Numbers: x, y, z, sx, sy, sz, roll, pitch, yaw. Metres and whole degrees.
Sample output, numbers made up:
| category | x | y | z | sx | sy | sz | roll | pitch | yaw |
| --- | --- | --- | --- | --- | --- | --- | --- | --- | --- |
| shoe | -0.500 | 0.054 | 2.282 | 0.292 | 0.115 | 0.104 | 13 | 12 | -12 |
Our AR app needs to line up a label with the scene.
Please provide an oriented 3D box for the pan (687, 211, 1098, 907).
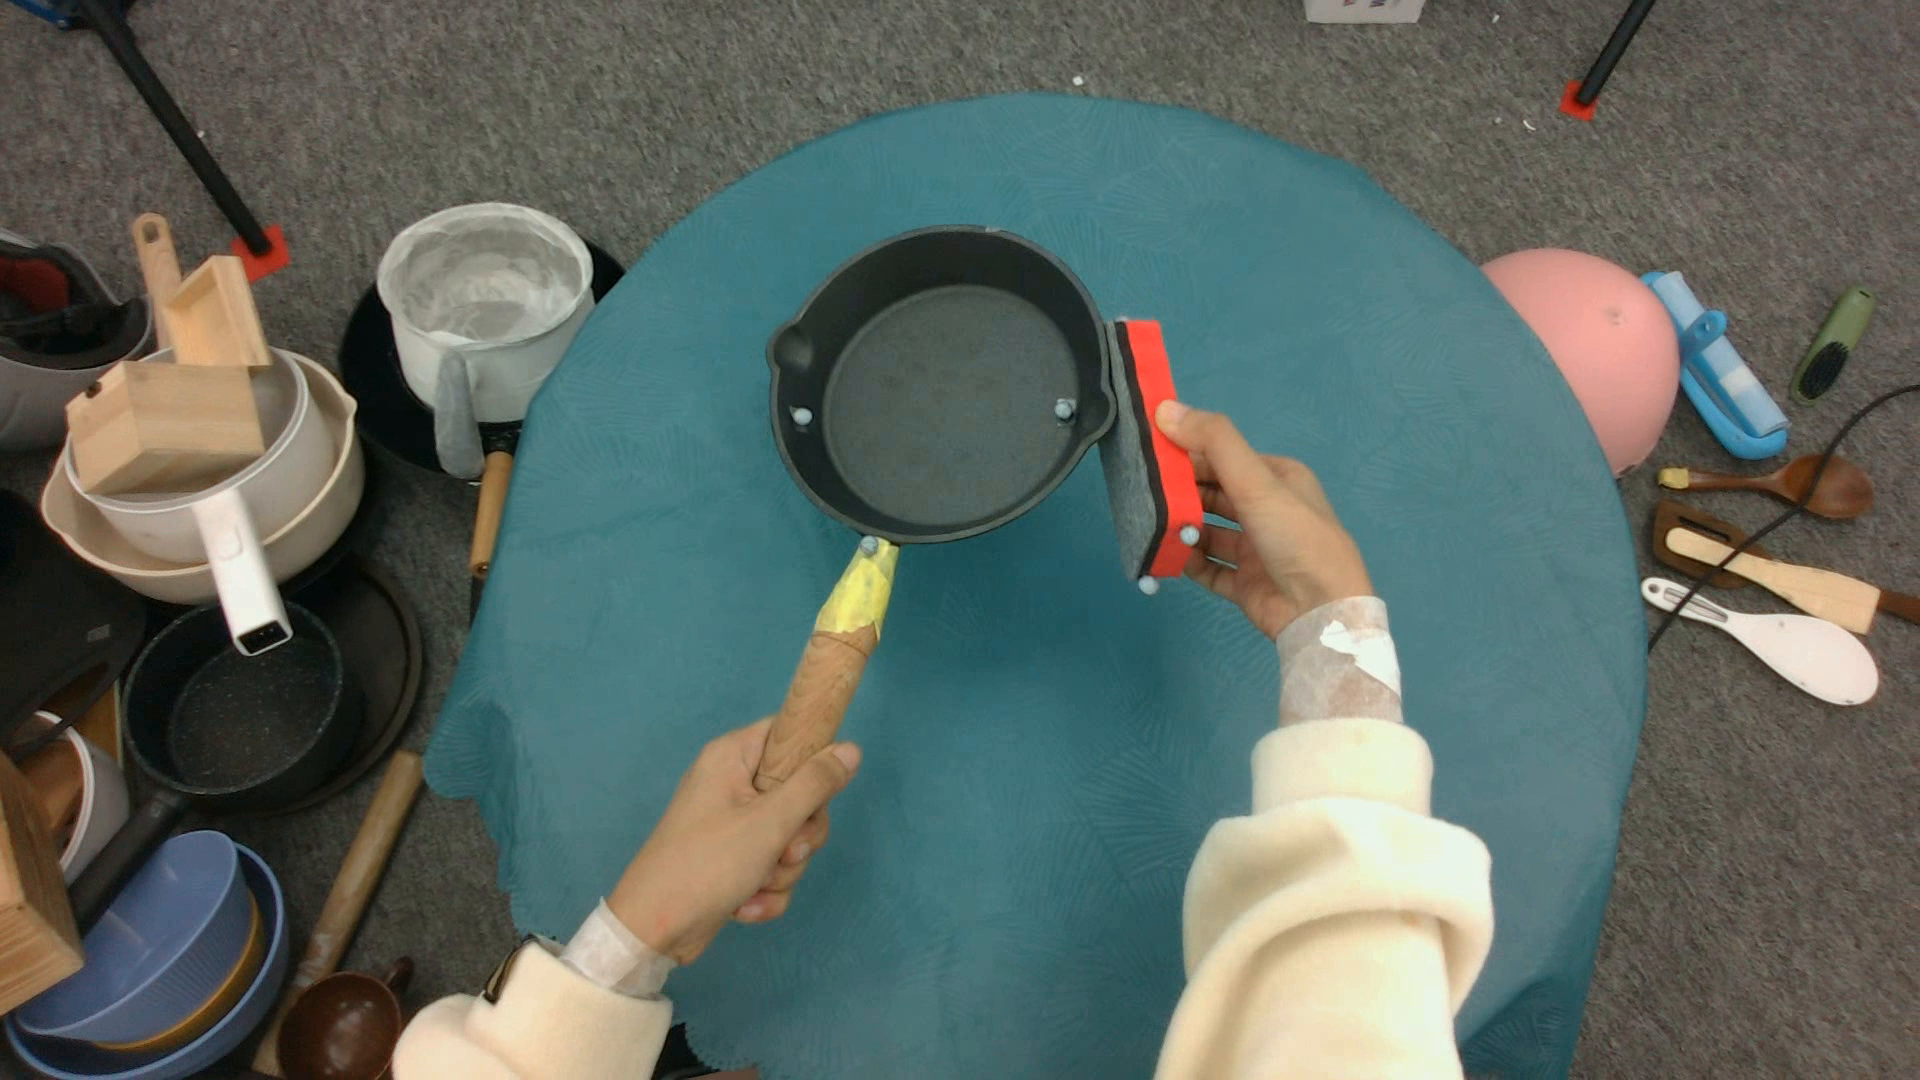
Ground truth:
| category | x | y | z | sx | sy | sz | roll | pitch | yaw |
| --- | --- | --- | --- | --- | --- | --- | --- | --- | --- |
| pan | -0.046 | 0.001 | 0.603 | 0.169 | 0.049 | 0.325 | 16 | 74 | 15 |

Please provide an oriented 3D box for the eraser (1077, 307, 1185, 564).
| category | x | y | z | sx | sy | sz | roll | pitch | yaw |
| --- | --- | --- | --- | --- | --- | --- | --- | --- | --- |
| eraser | 0.072 | -0.047 | 0.606 | 0.023 | 0.058 | 0.108 | -3 | 60 | -9 |
